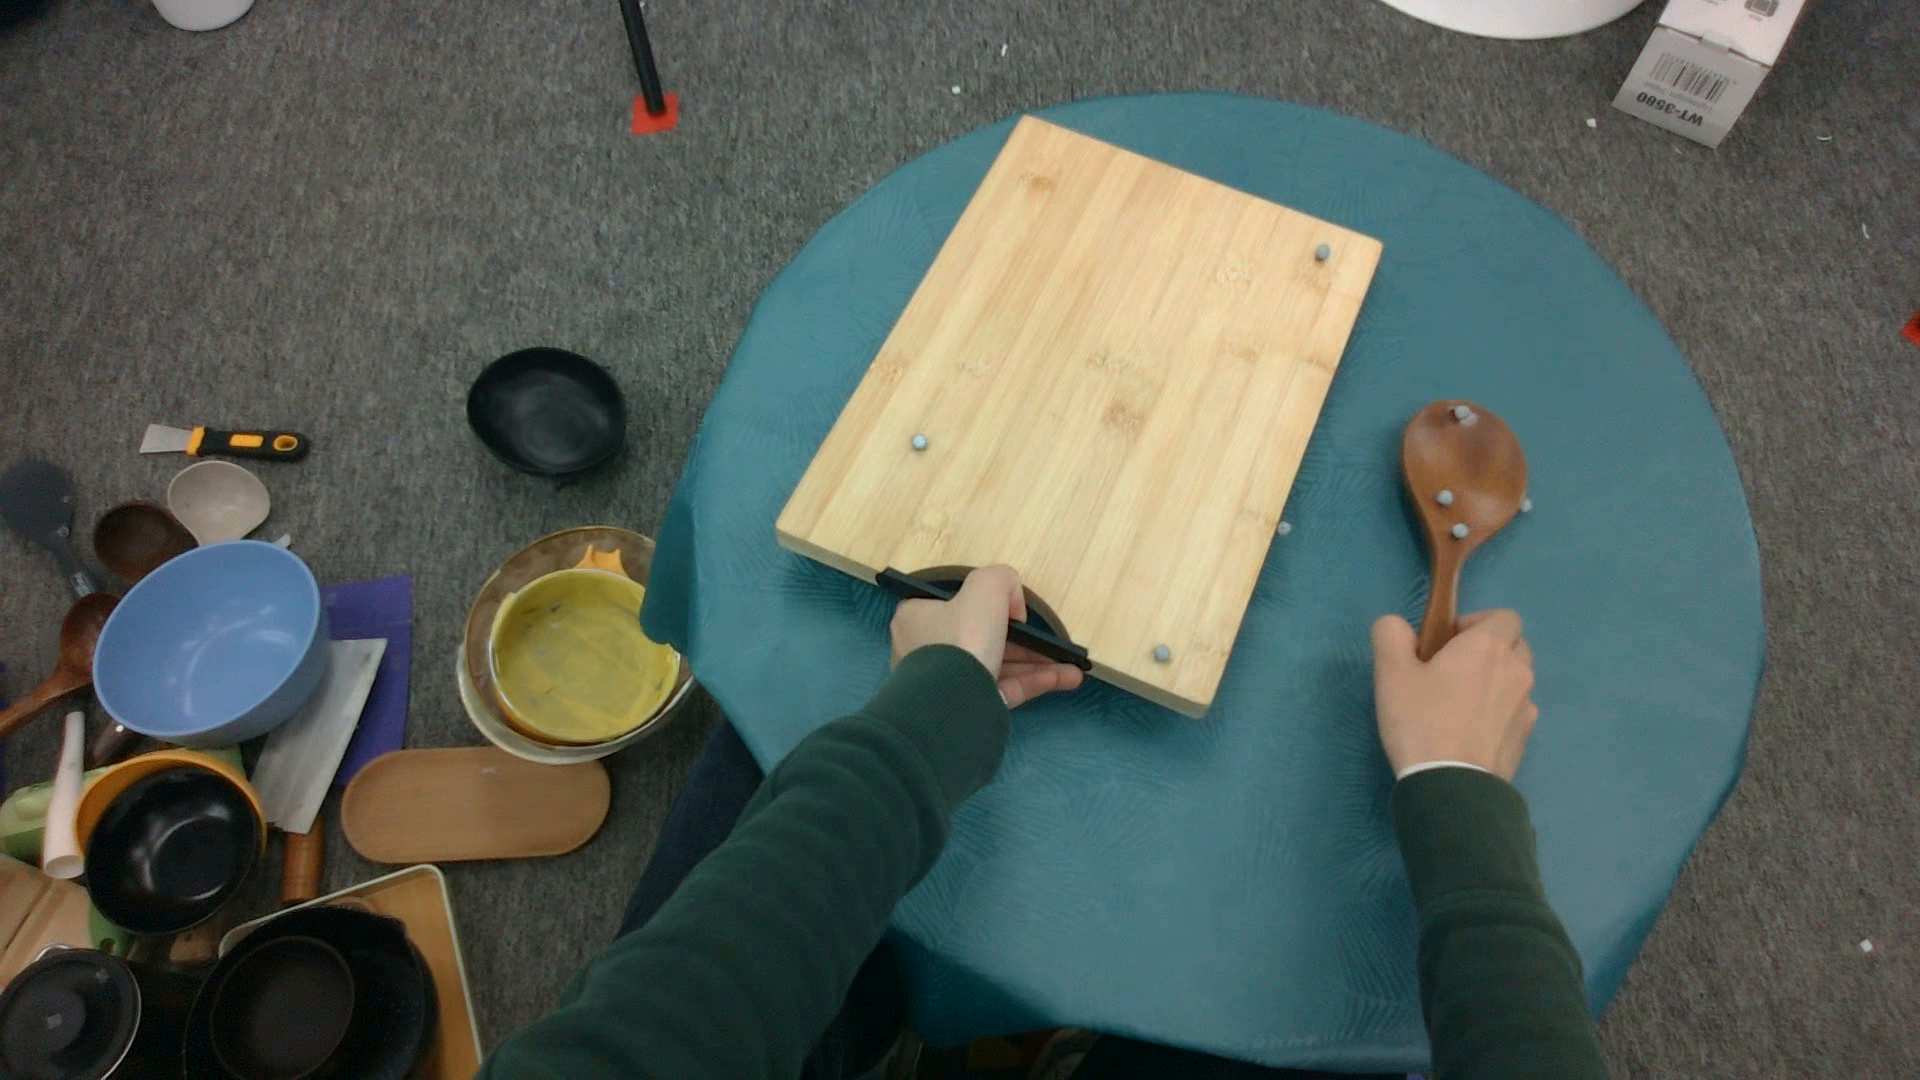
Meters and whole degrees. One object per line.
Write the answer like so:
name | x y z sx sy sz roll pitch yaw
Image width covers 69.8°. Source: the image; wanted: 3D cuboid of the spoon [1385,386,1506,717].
spoon | 0.256 0.001 0.743 0.075 0.017 0.217 21 55 -3

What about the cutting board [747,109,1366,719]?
cutting board | 0.069 -0.091 0.777 0.250 0.023 0.350 21 60 8
